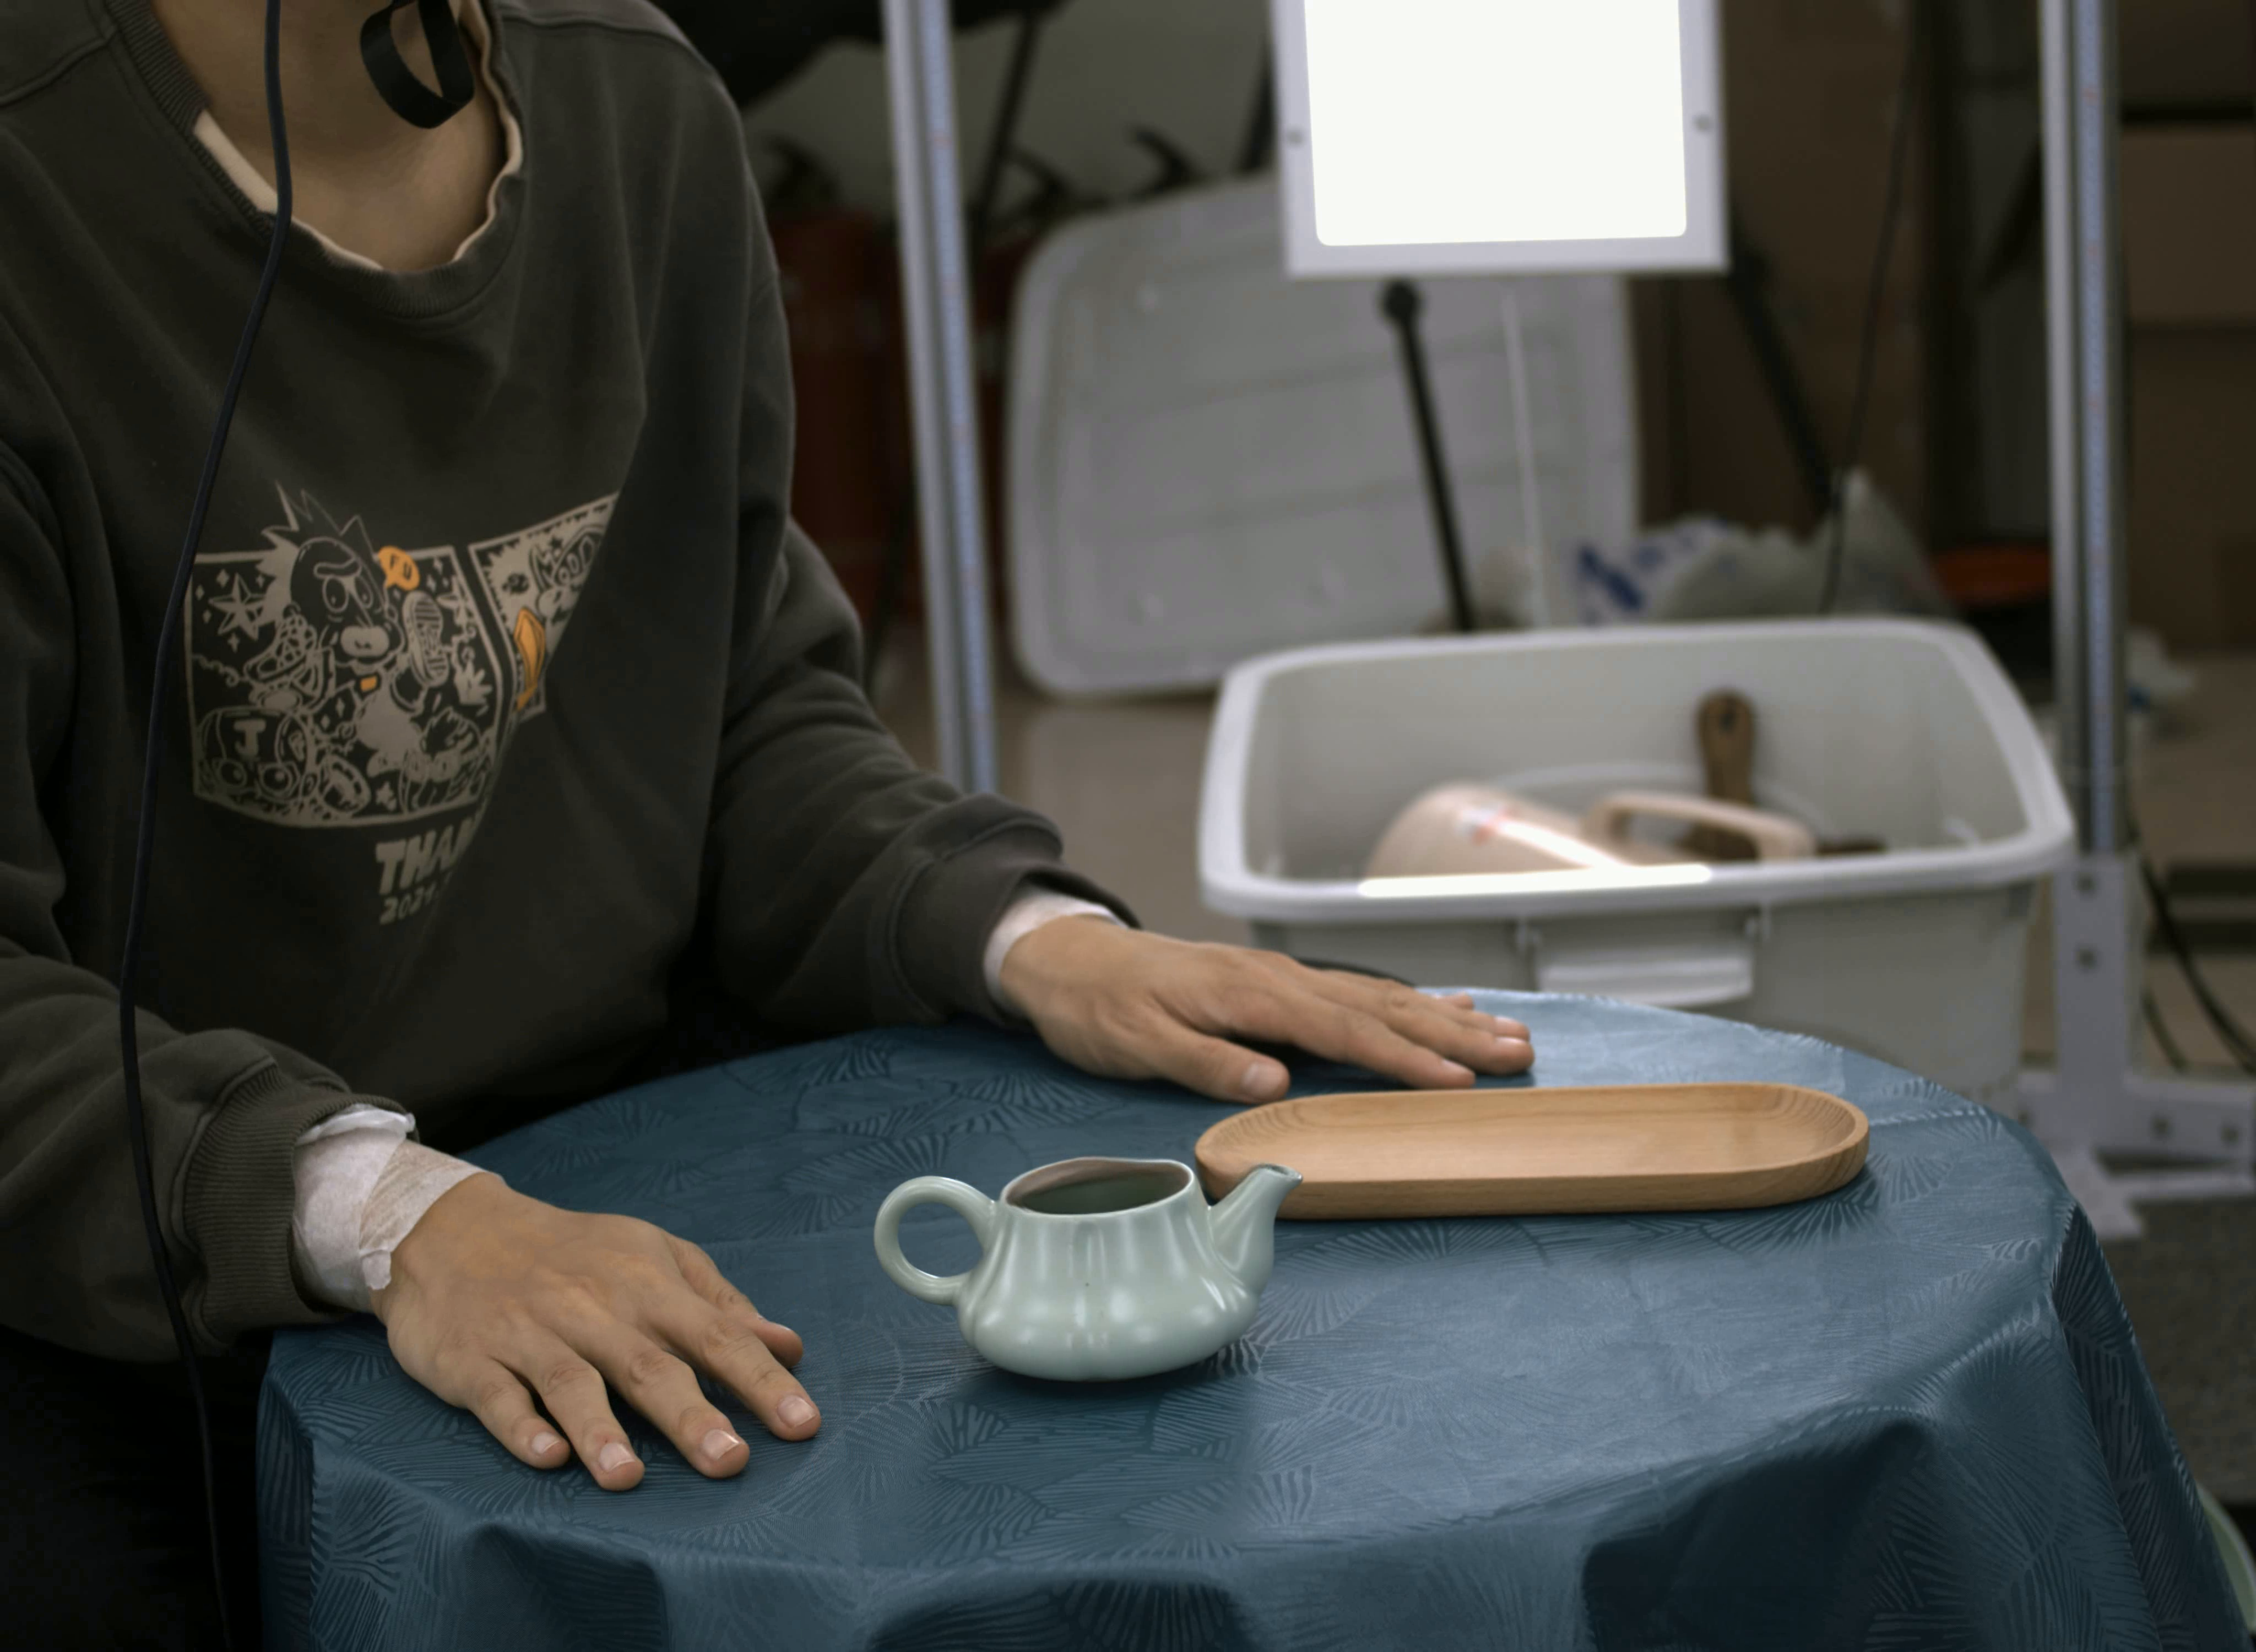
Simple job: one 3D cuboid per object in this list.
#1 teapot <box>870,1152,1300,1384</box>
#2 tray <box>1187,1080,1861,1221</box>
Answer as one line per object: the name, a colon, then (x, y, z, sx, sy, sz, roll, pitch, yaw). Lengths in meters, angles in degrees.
teapot: (-0.012, 0.138, 1.729, 0.137, 0.061, 0.095, -3, 15, 5)
tray: (0.135, 0.111, 1.874, 0.232, 0.020, 0.100, -4, 14, 11)
